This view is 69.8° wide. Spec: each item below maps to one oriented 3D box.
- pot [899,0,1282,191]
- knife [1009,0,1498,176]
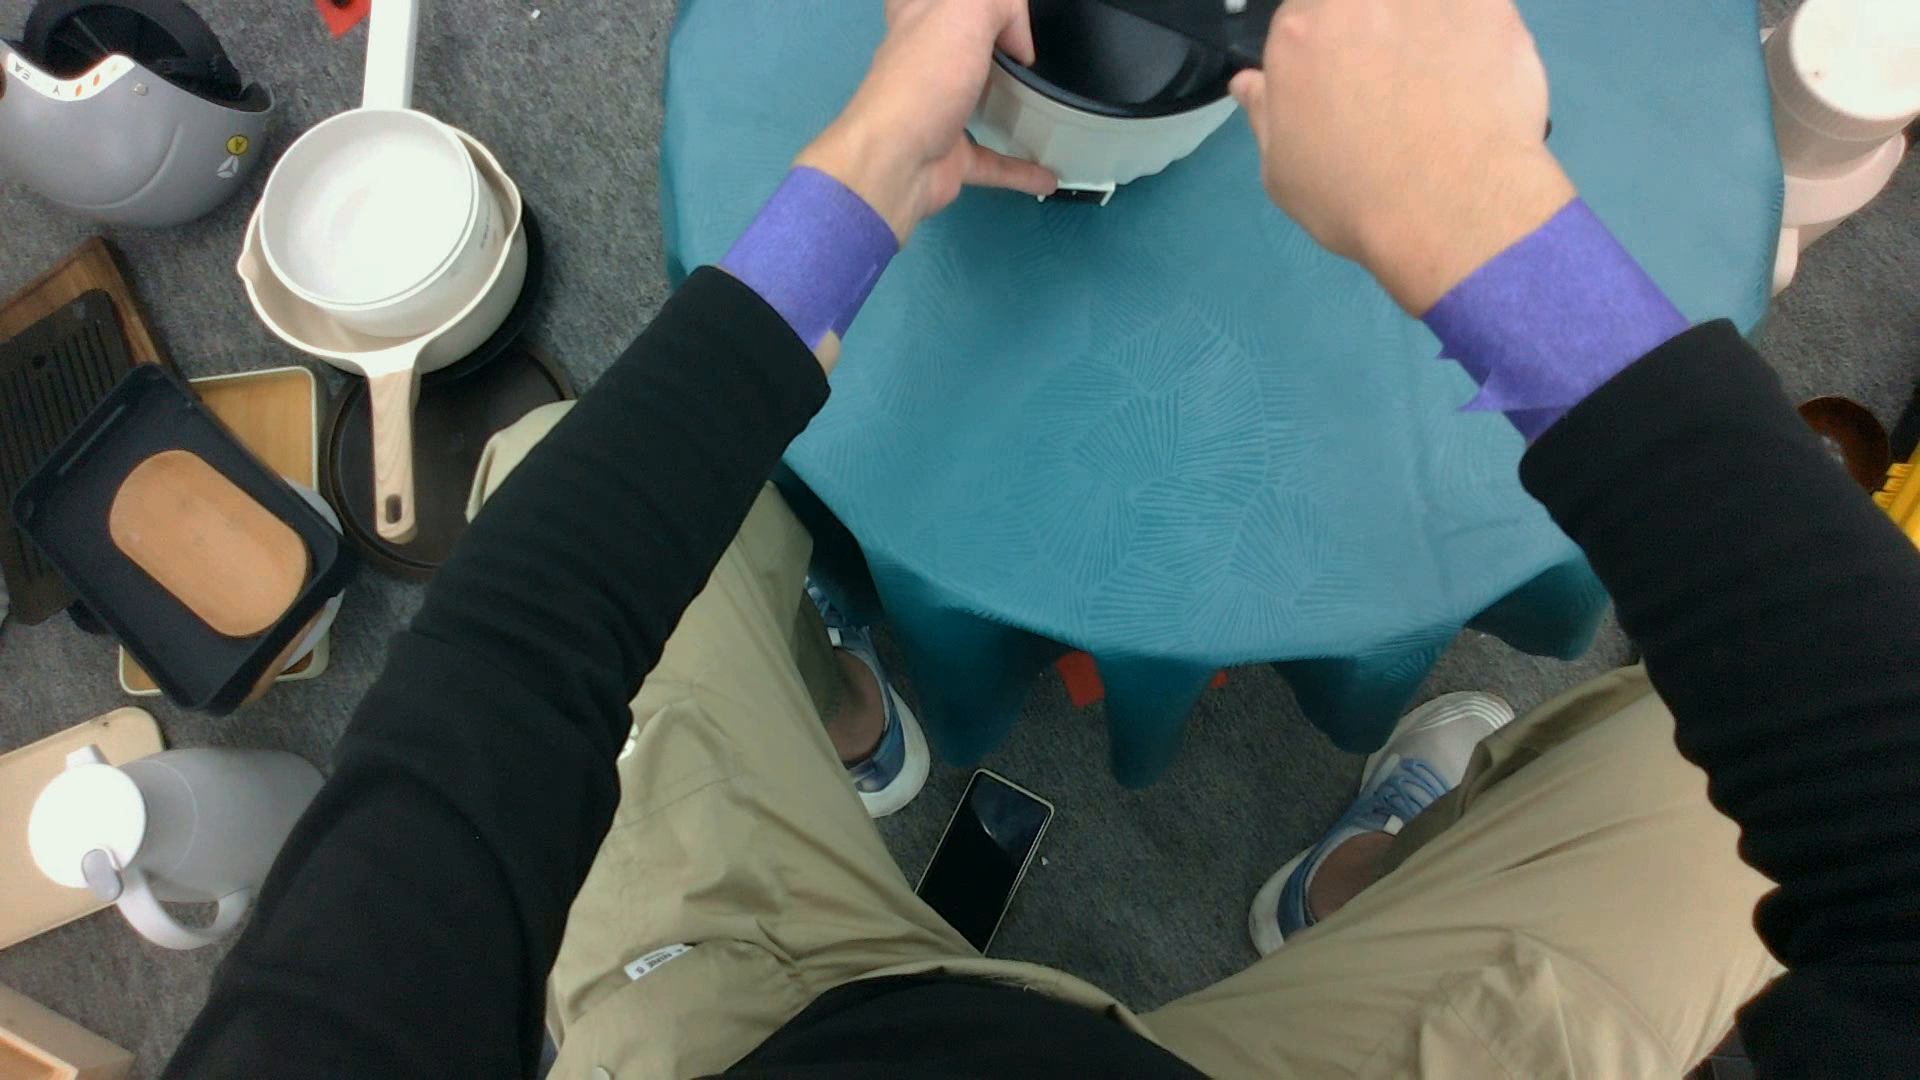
[{"bbox_3d":[0.057,-0.285,0.689,0.240,0.142,0.190,1,88,-8],"label":"pot"},{"bbox_3d":[0.098,-0.210,0.567,0.081,0.021,0.303,-26,43,-16],"label":"knife"}]
